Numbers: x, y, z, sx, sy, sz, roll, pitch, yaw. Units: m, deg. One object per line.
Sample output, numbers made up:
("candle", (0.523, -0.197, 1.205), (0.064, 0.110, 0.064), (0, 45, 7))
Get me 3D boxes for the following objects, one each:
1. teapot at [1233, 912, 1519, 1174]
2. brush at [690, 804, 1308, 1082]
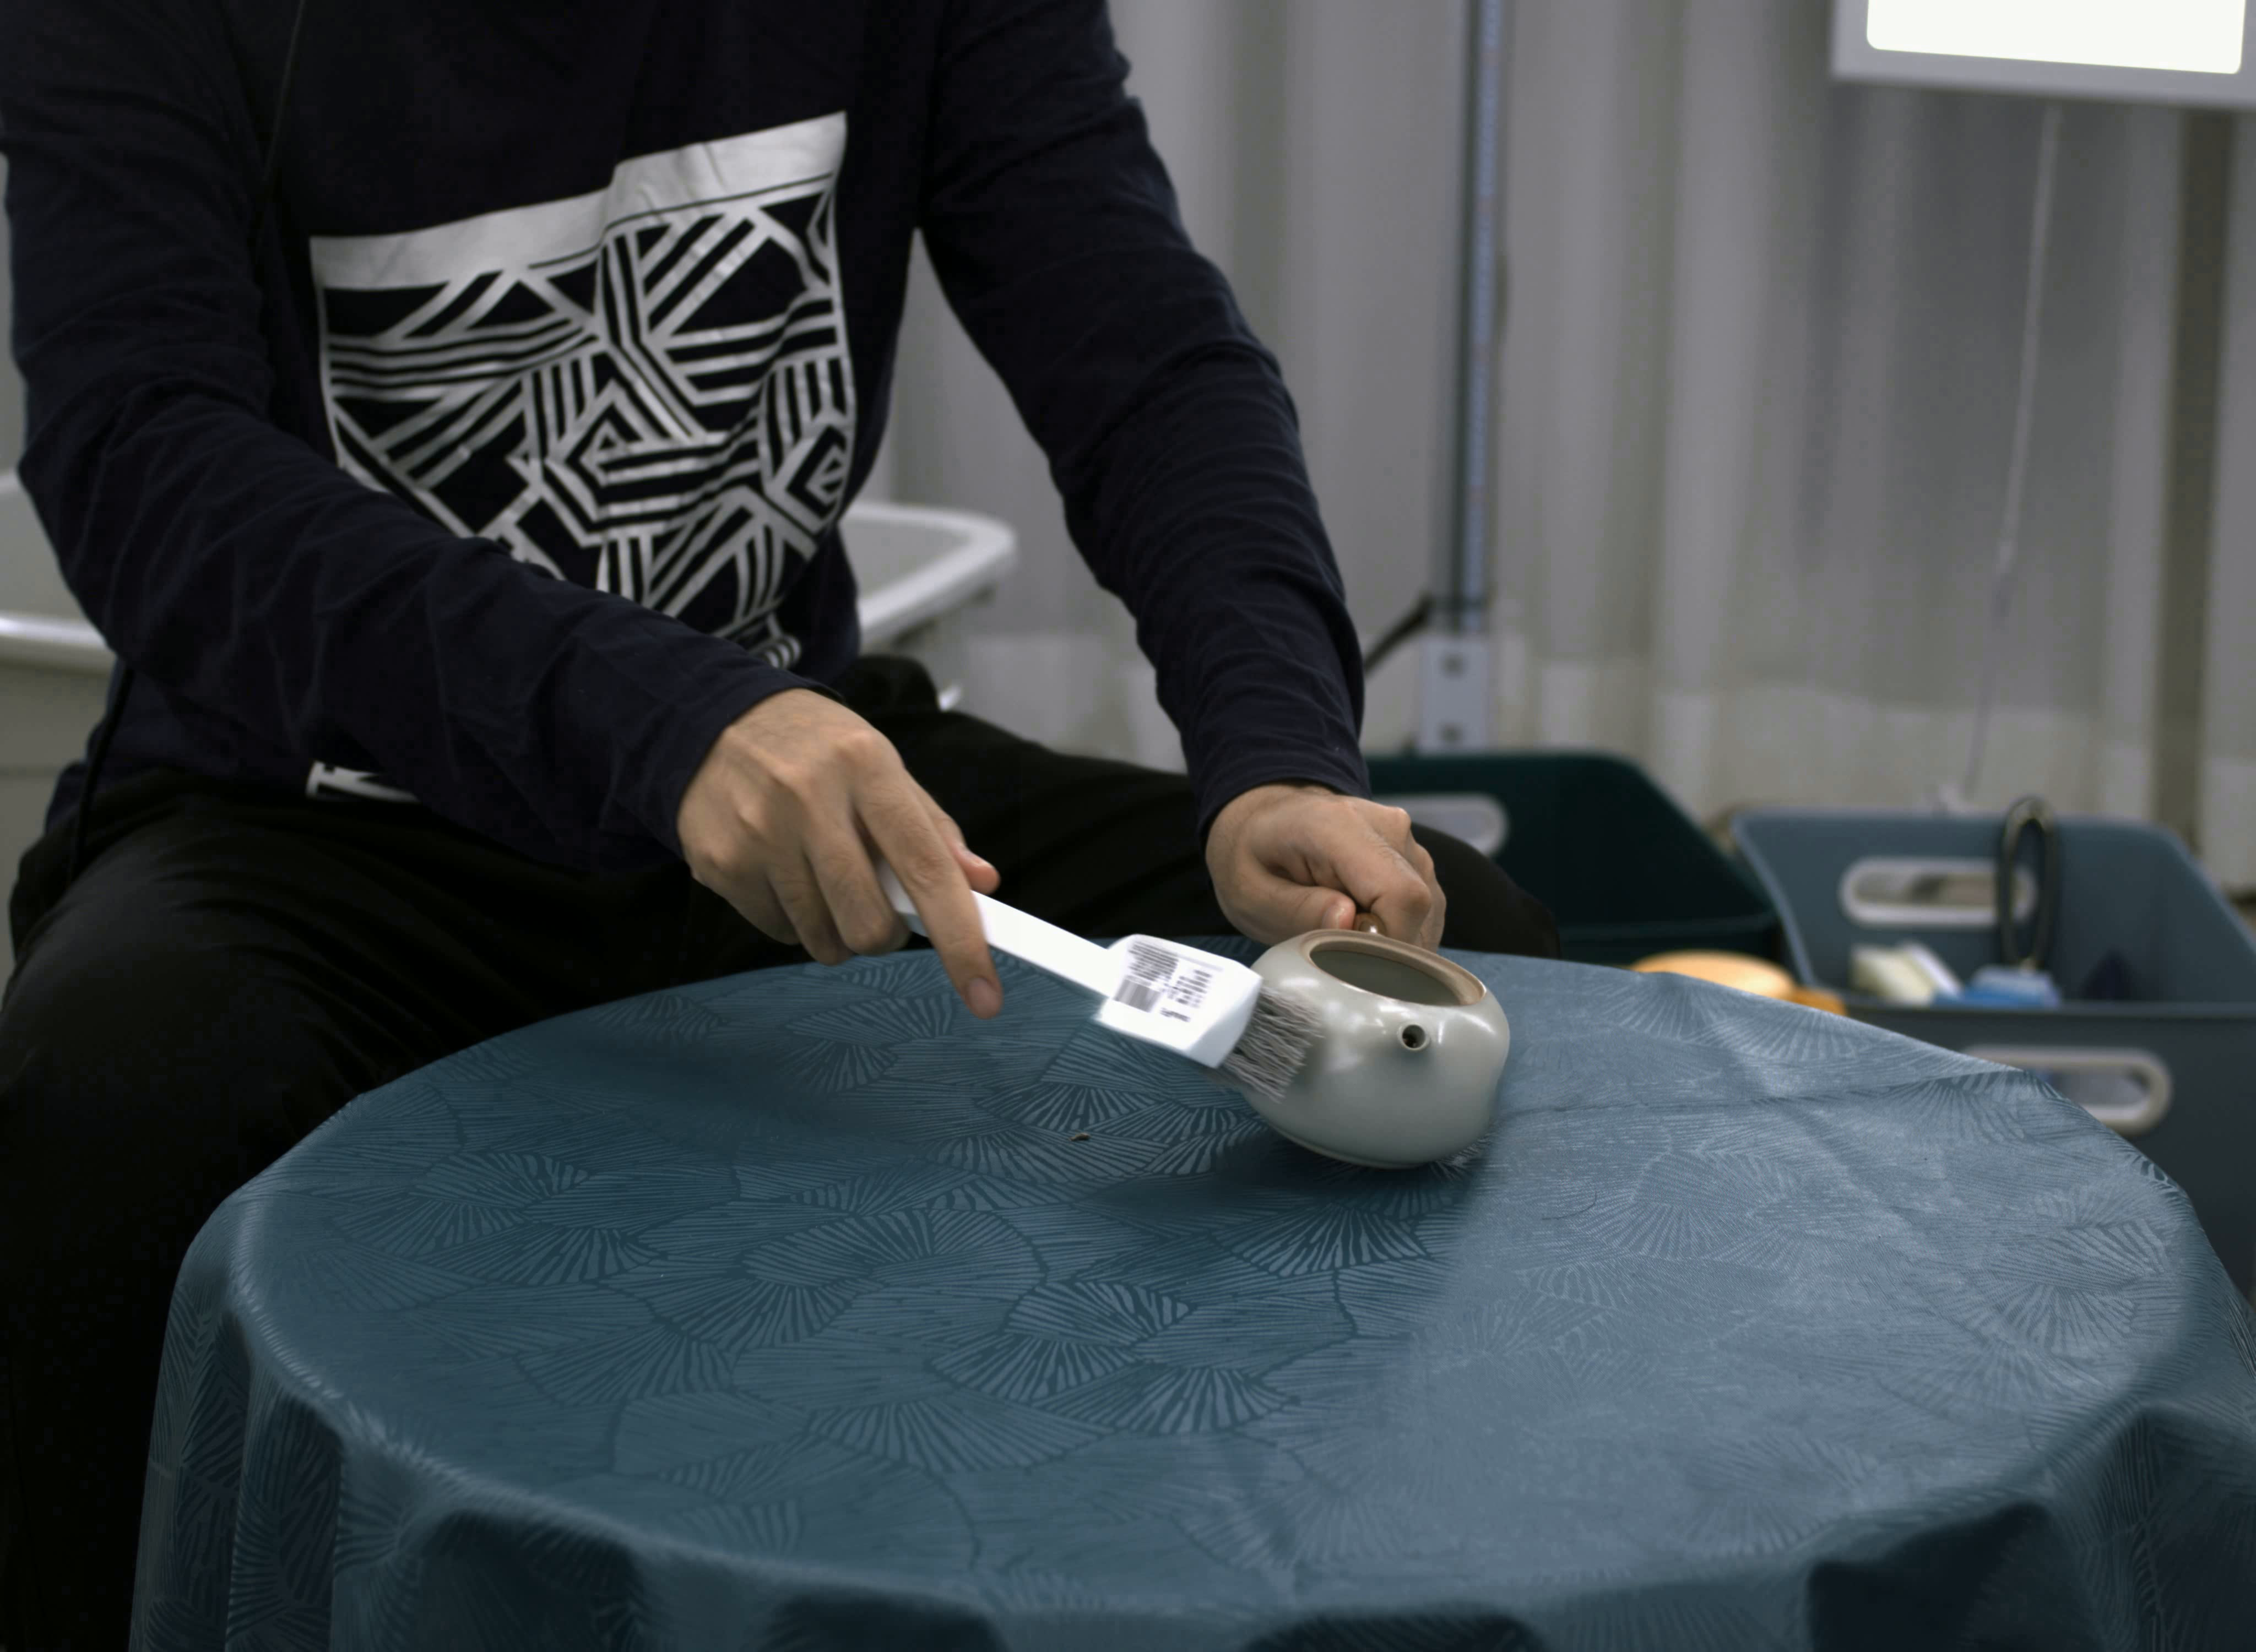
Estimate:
("teapot", (0.076, 0.068, 1.660), (0.092, 0.060, 0.127), (9, 19, -11))
("brush", (-0.042, 0.035, 1.667), (0.240, 0.034, 0.051), (17, -9, 39))
